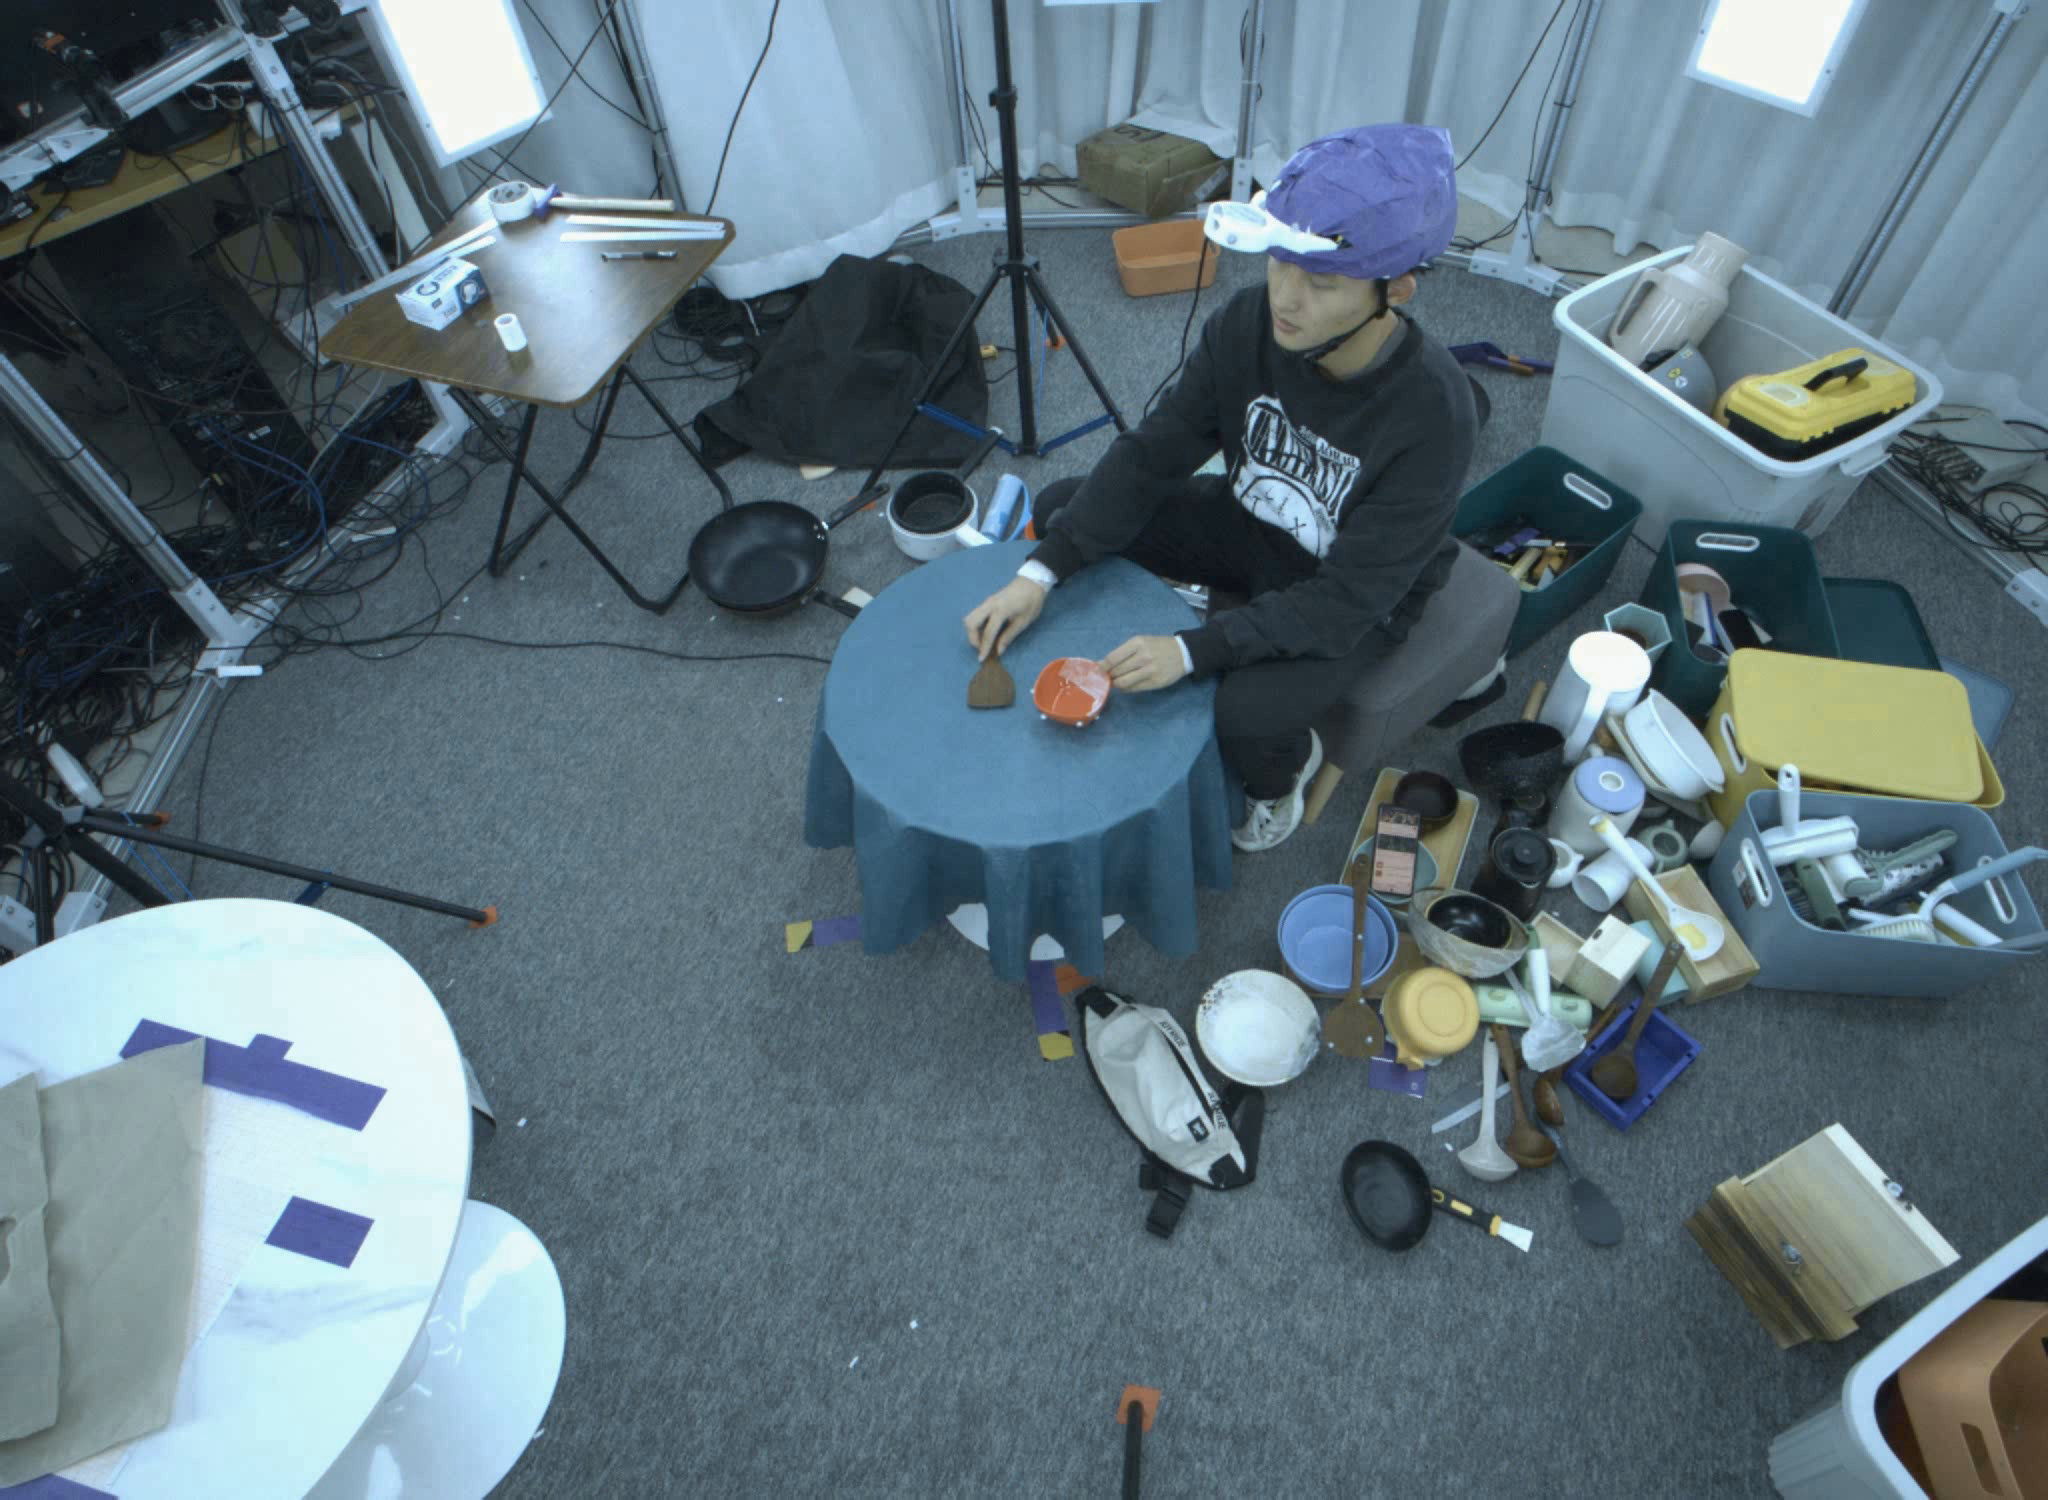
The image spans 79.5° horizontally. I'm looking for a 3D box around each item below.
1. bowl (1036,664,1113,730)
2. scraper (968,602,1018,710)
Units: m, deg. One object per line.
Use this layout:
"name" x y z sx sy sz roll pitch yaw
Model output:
"bowl" 0.078 -0.071 1.815 0.118 0.052 0.117 -6 51 8
"scraper" -0.049 -0.146 1.893 0.076 0.011 0.209 -1 57 0
